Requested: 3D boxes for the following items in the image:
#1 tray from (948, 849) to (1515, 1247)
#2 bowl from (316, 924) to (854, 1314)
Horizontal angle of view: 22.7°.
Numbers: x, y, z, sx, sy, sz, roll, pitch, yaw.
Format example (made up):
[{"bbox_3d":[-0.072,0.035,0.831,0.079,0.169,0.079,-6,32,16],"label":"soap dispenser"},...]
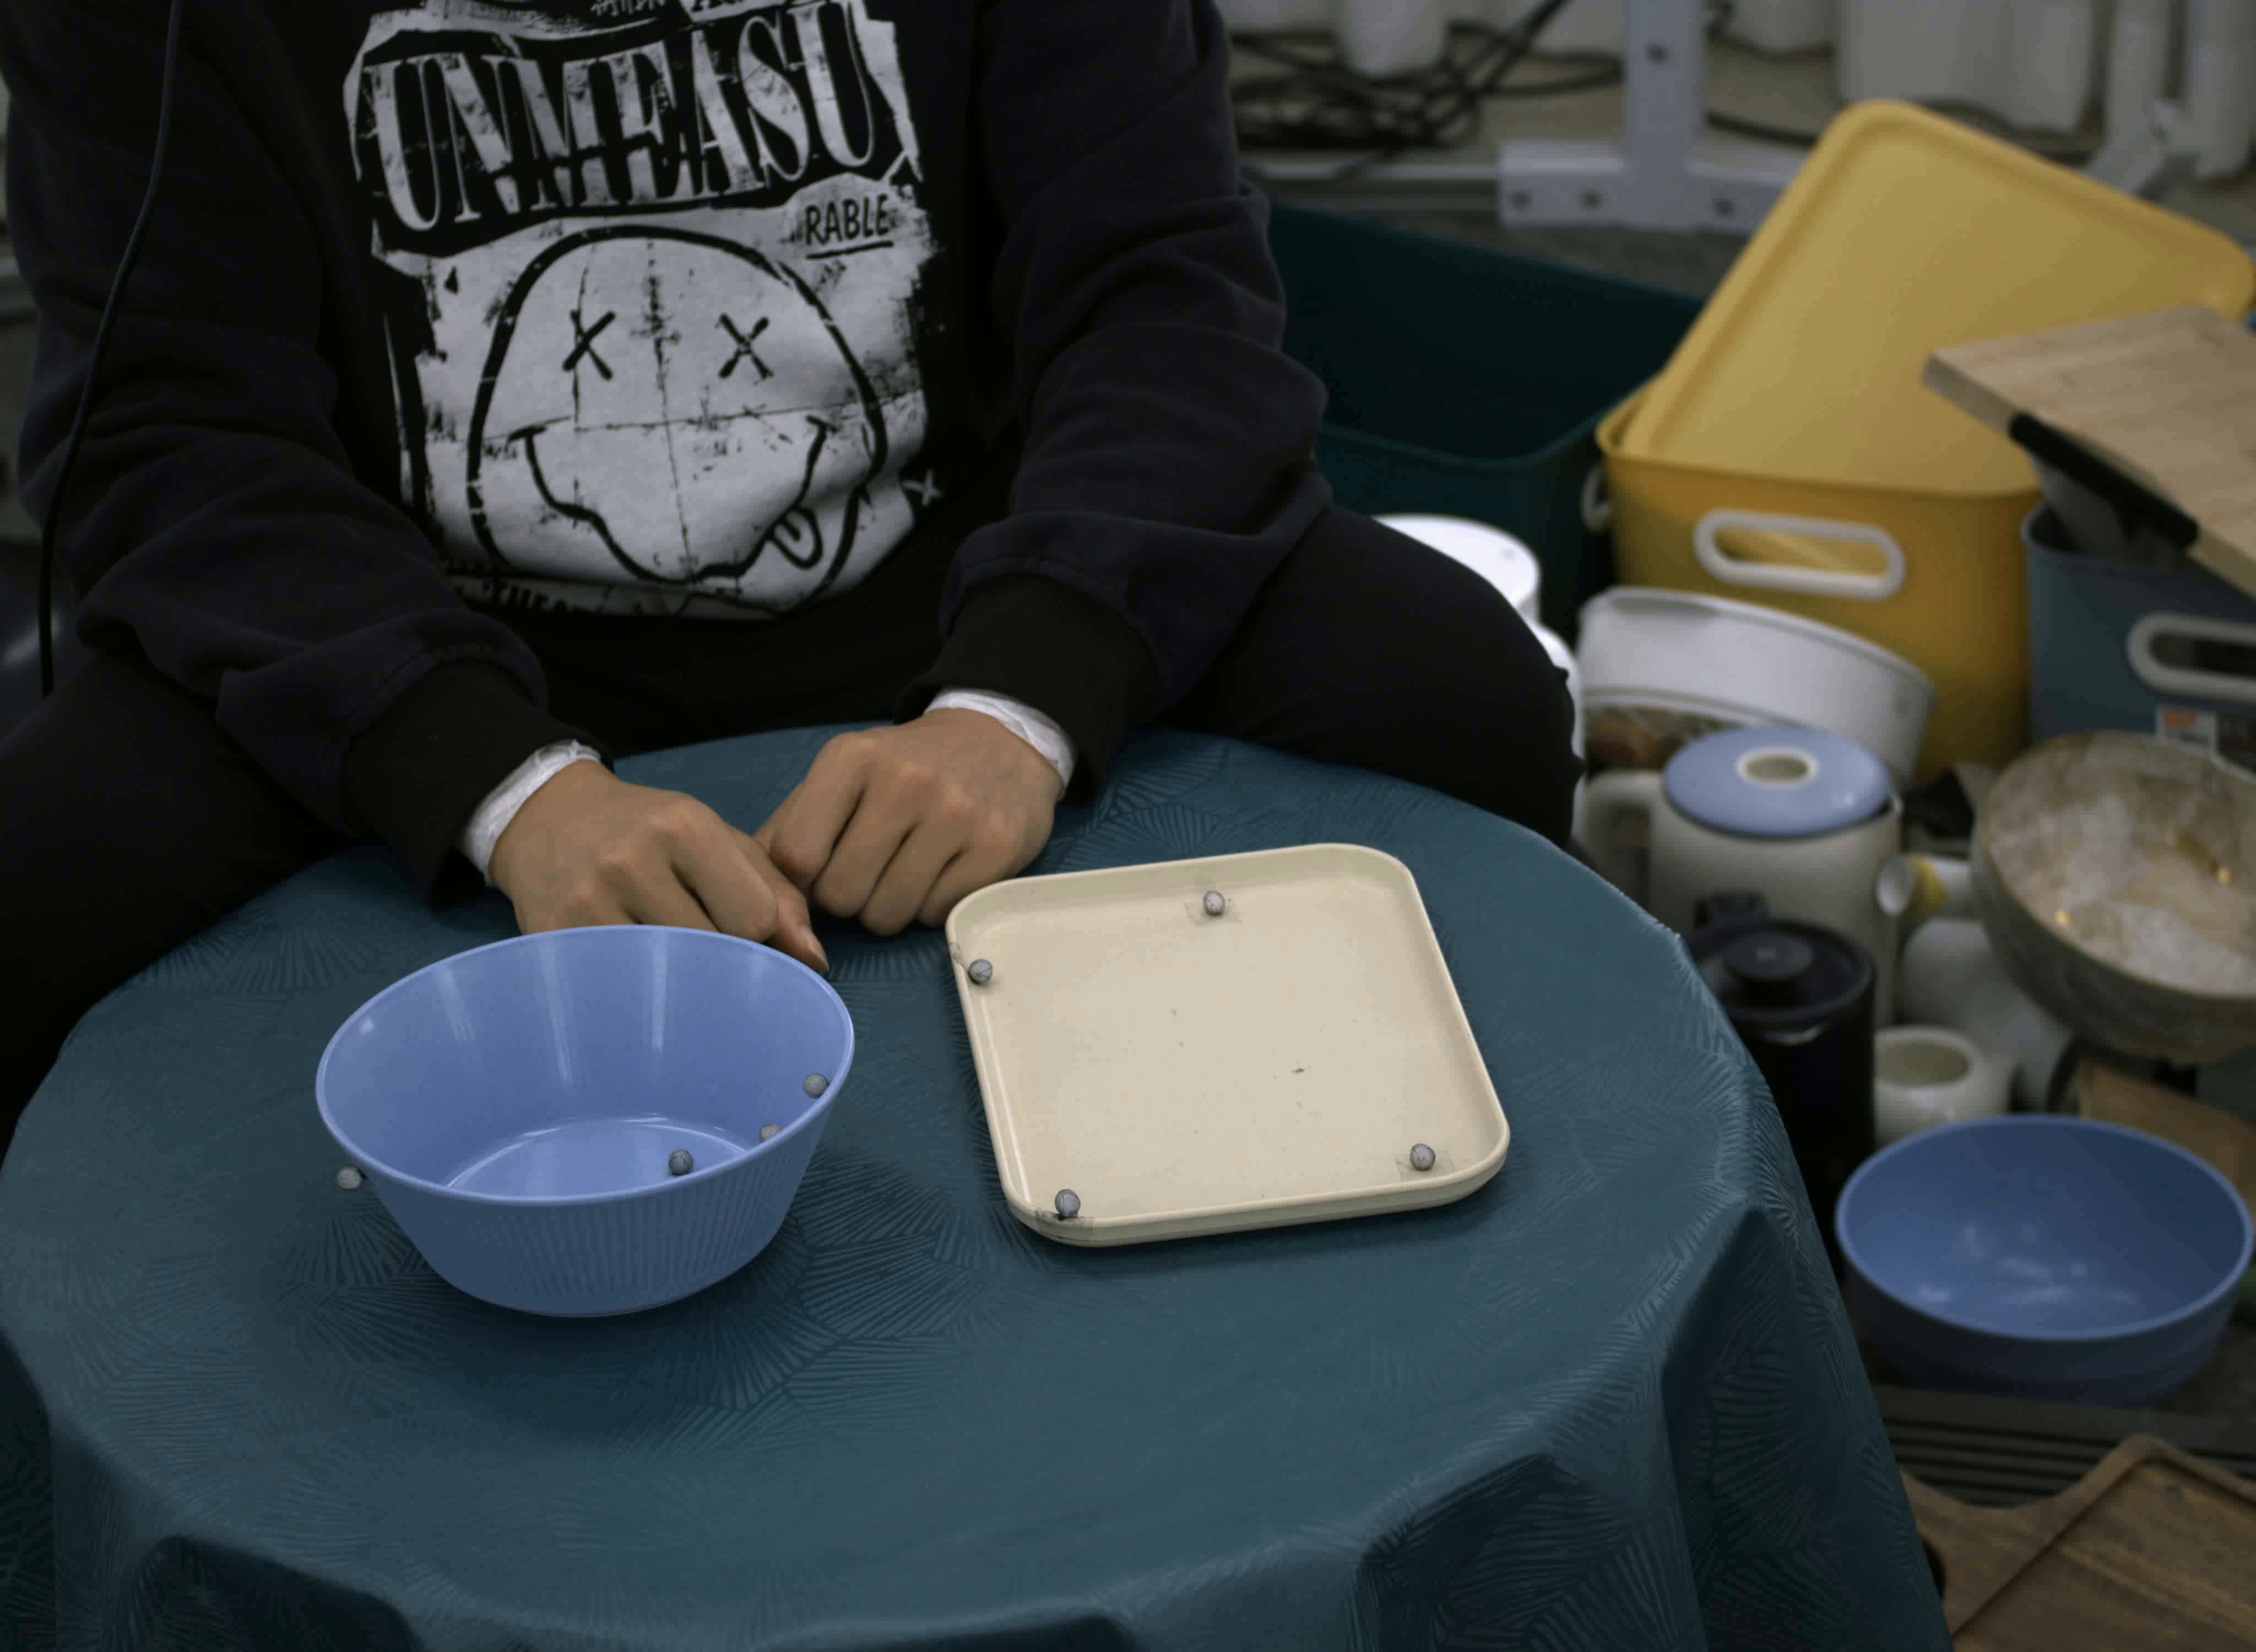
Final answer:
[{"bbox_3d":[0.032,0.075,1.929,0.171,0.017,0.243,-5,27,-6],"label":"tray"},{"bbox_3d":[-0.175,0.102,1.840,0.175,0.069,0.179,-2,28,1],"label":"bowl"}]
